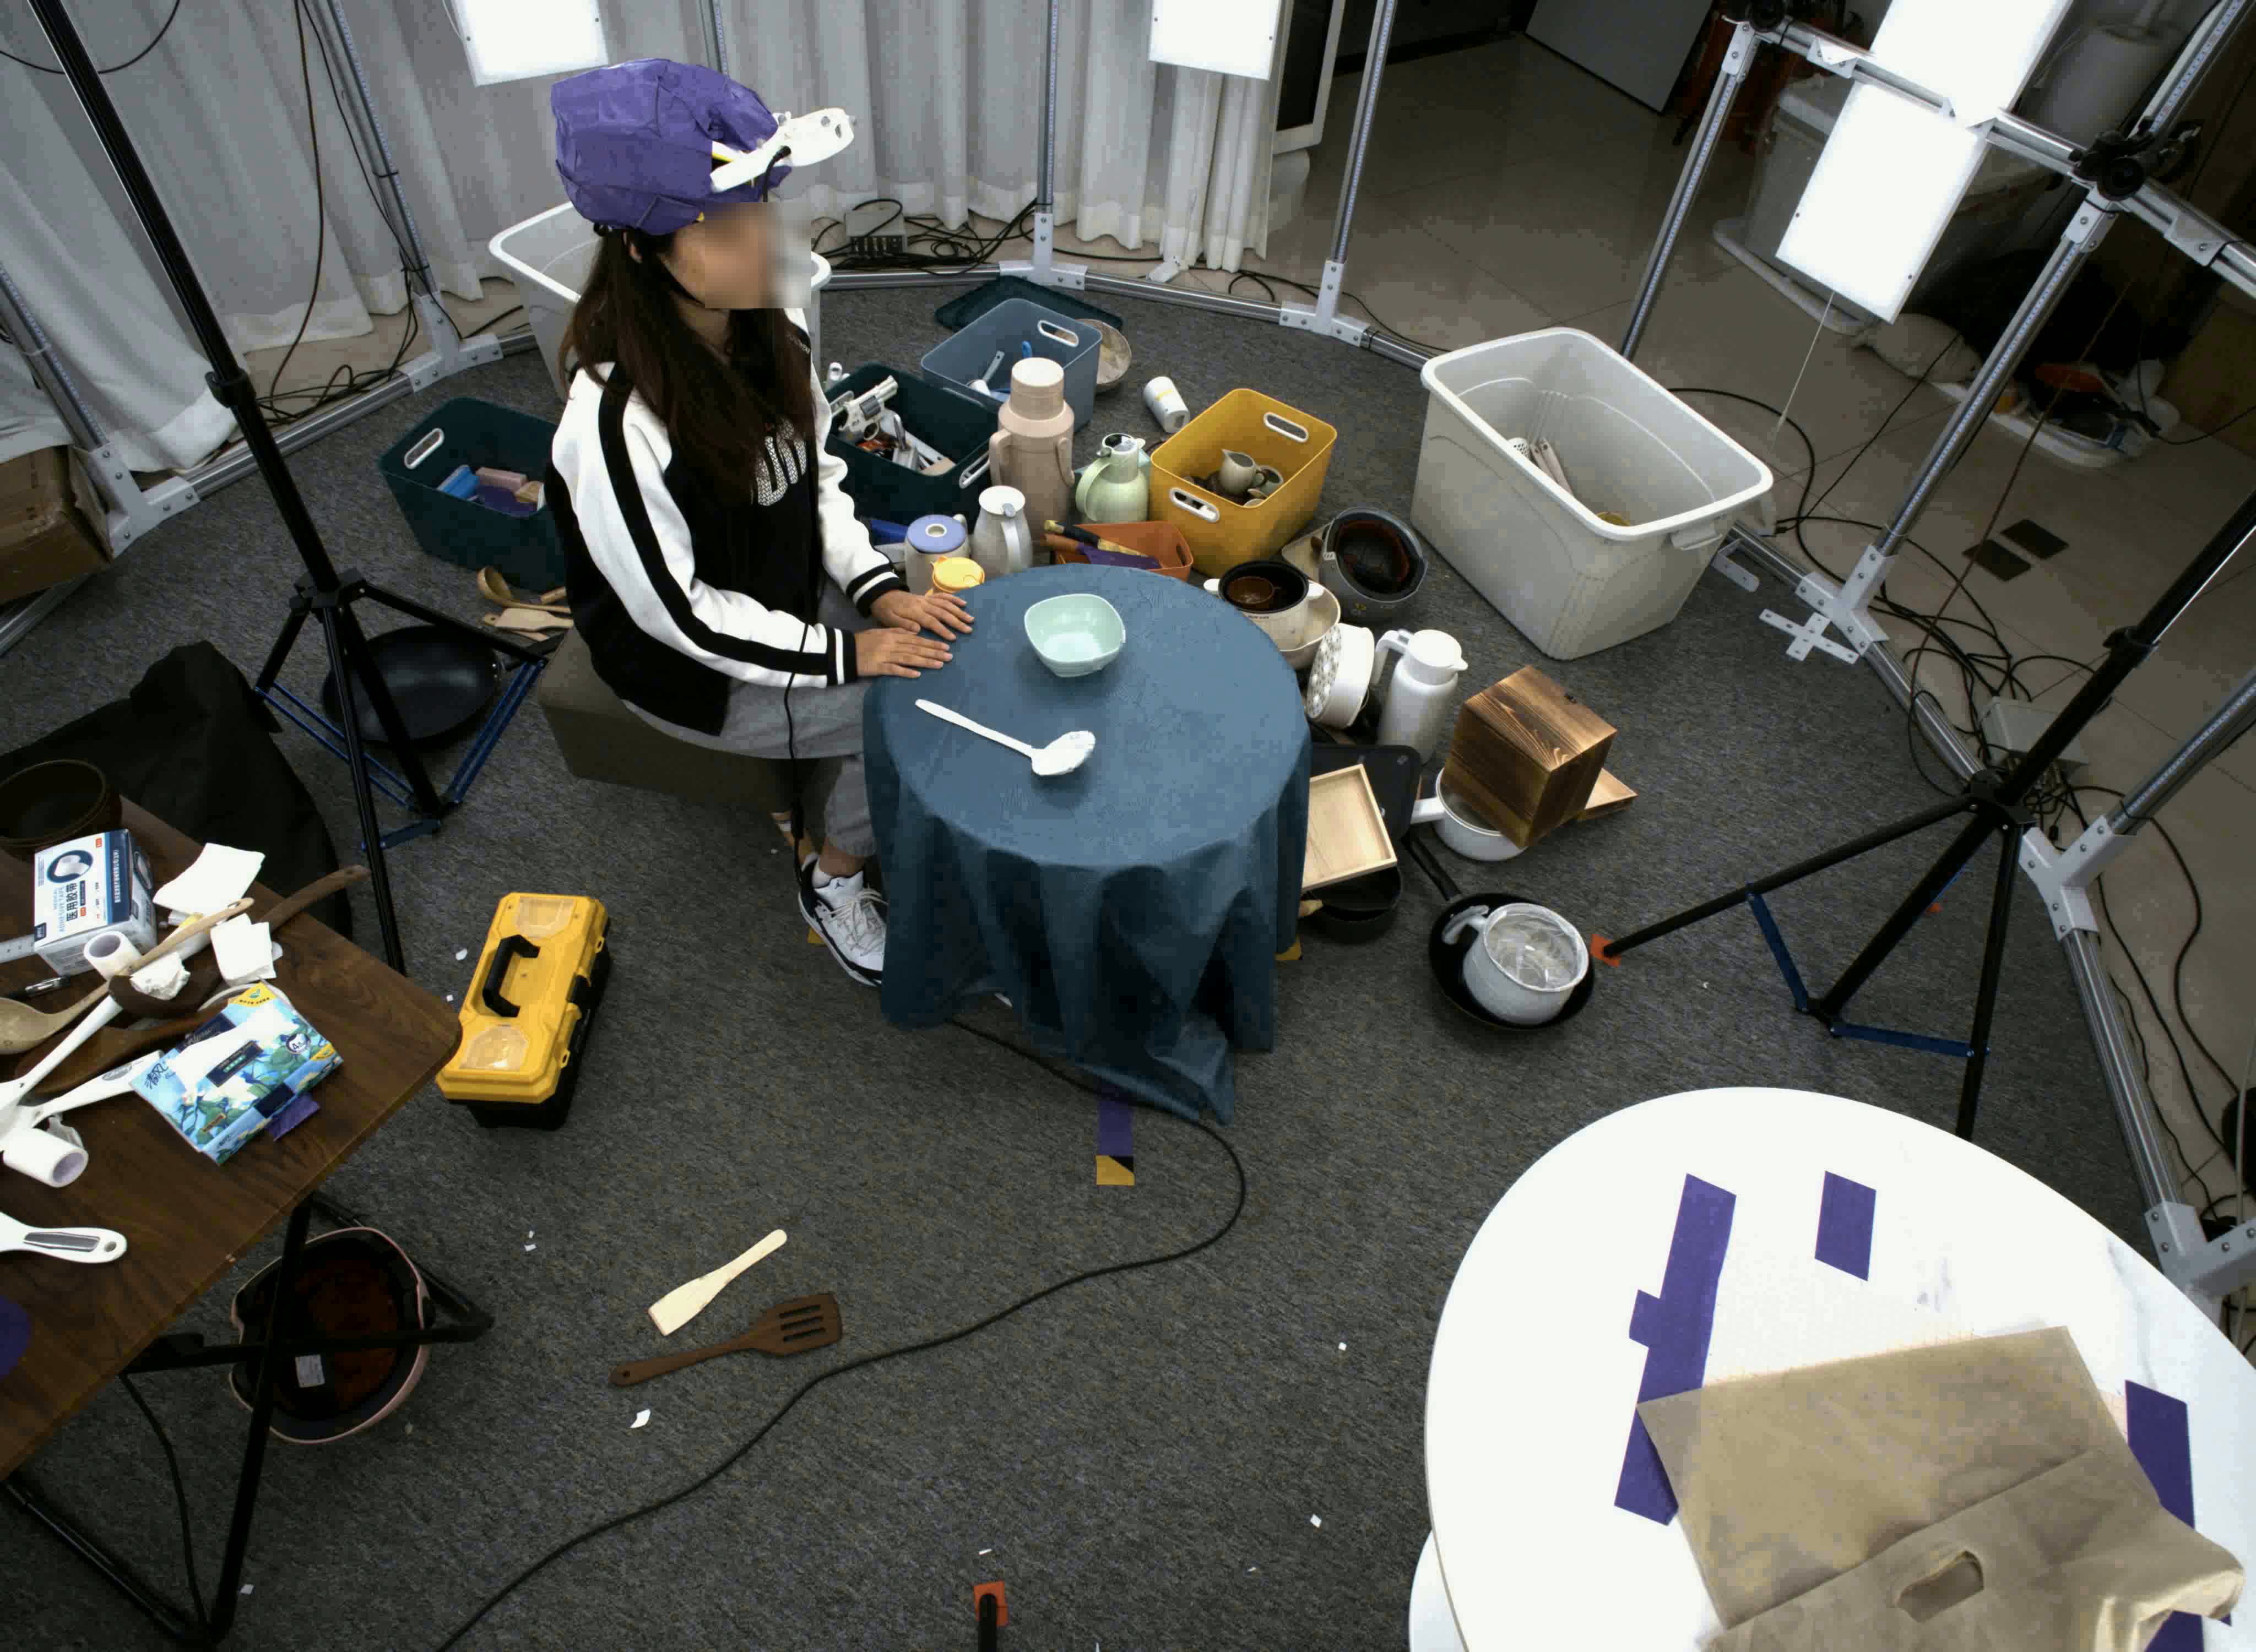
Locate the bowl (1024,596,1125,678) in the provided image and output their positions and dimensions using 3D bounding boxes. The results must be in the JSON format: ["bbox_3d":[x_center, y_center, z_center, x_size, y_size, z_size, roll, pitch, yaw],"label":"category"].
[{"bbox_3d":[-0.078,-0.265,1.861,0.151,0.057,0.155,2,49,-3],"label":"bowl"}]

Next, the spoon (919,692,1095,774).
[{"bbox_3d":[-0.169,-0.143,1.746,0.280,0.058,0.102,28,48,19],"label":"spoon"}]
